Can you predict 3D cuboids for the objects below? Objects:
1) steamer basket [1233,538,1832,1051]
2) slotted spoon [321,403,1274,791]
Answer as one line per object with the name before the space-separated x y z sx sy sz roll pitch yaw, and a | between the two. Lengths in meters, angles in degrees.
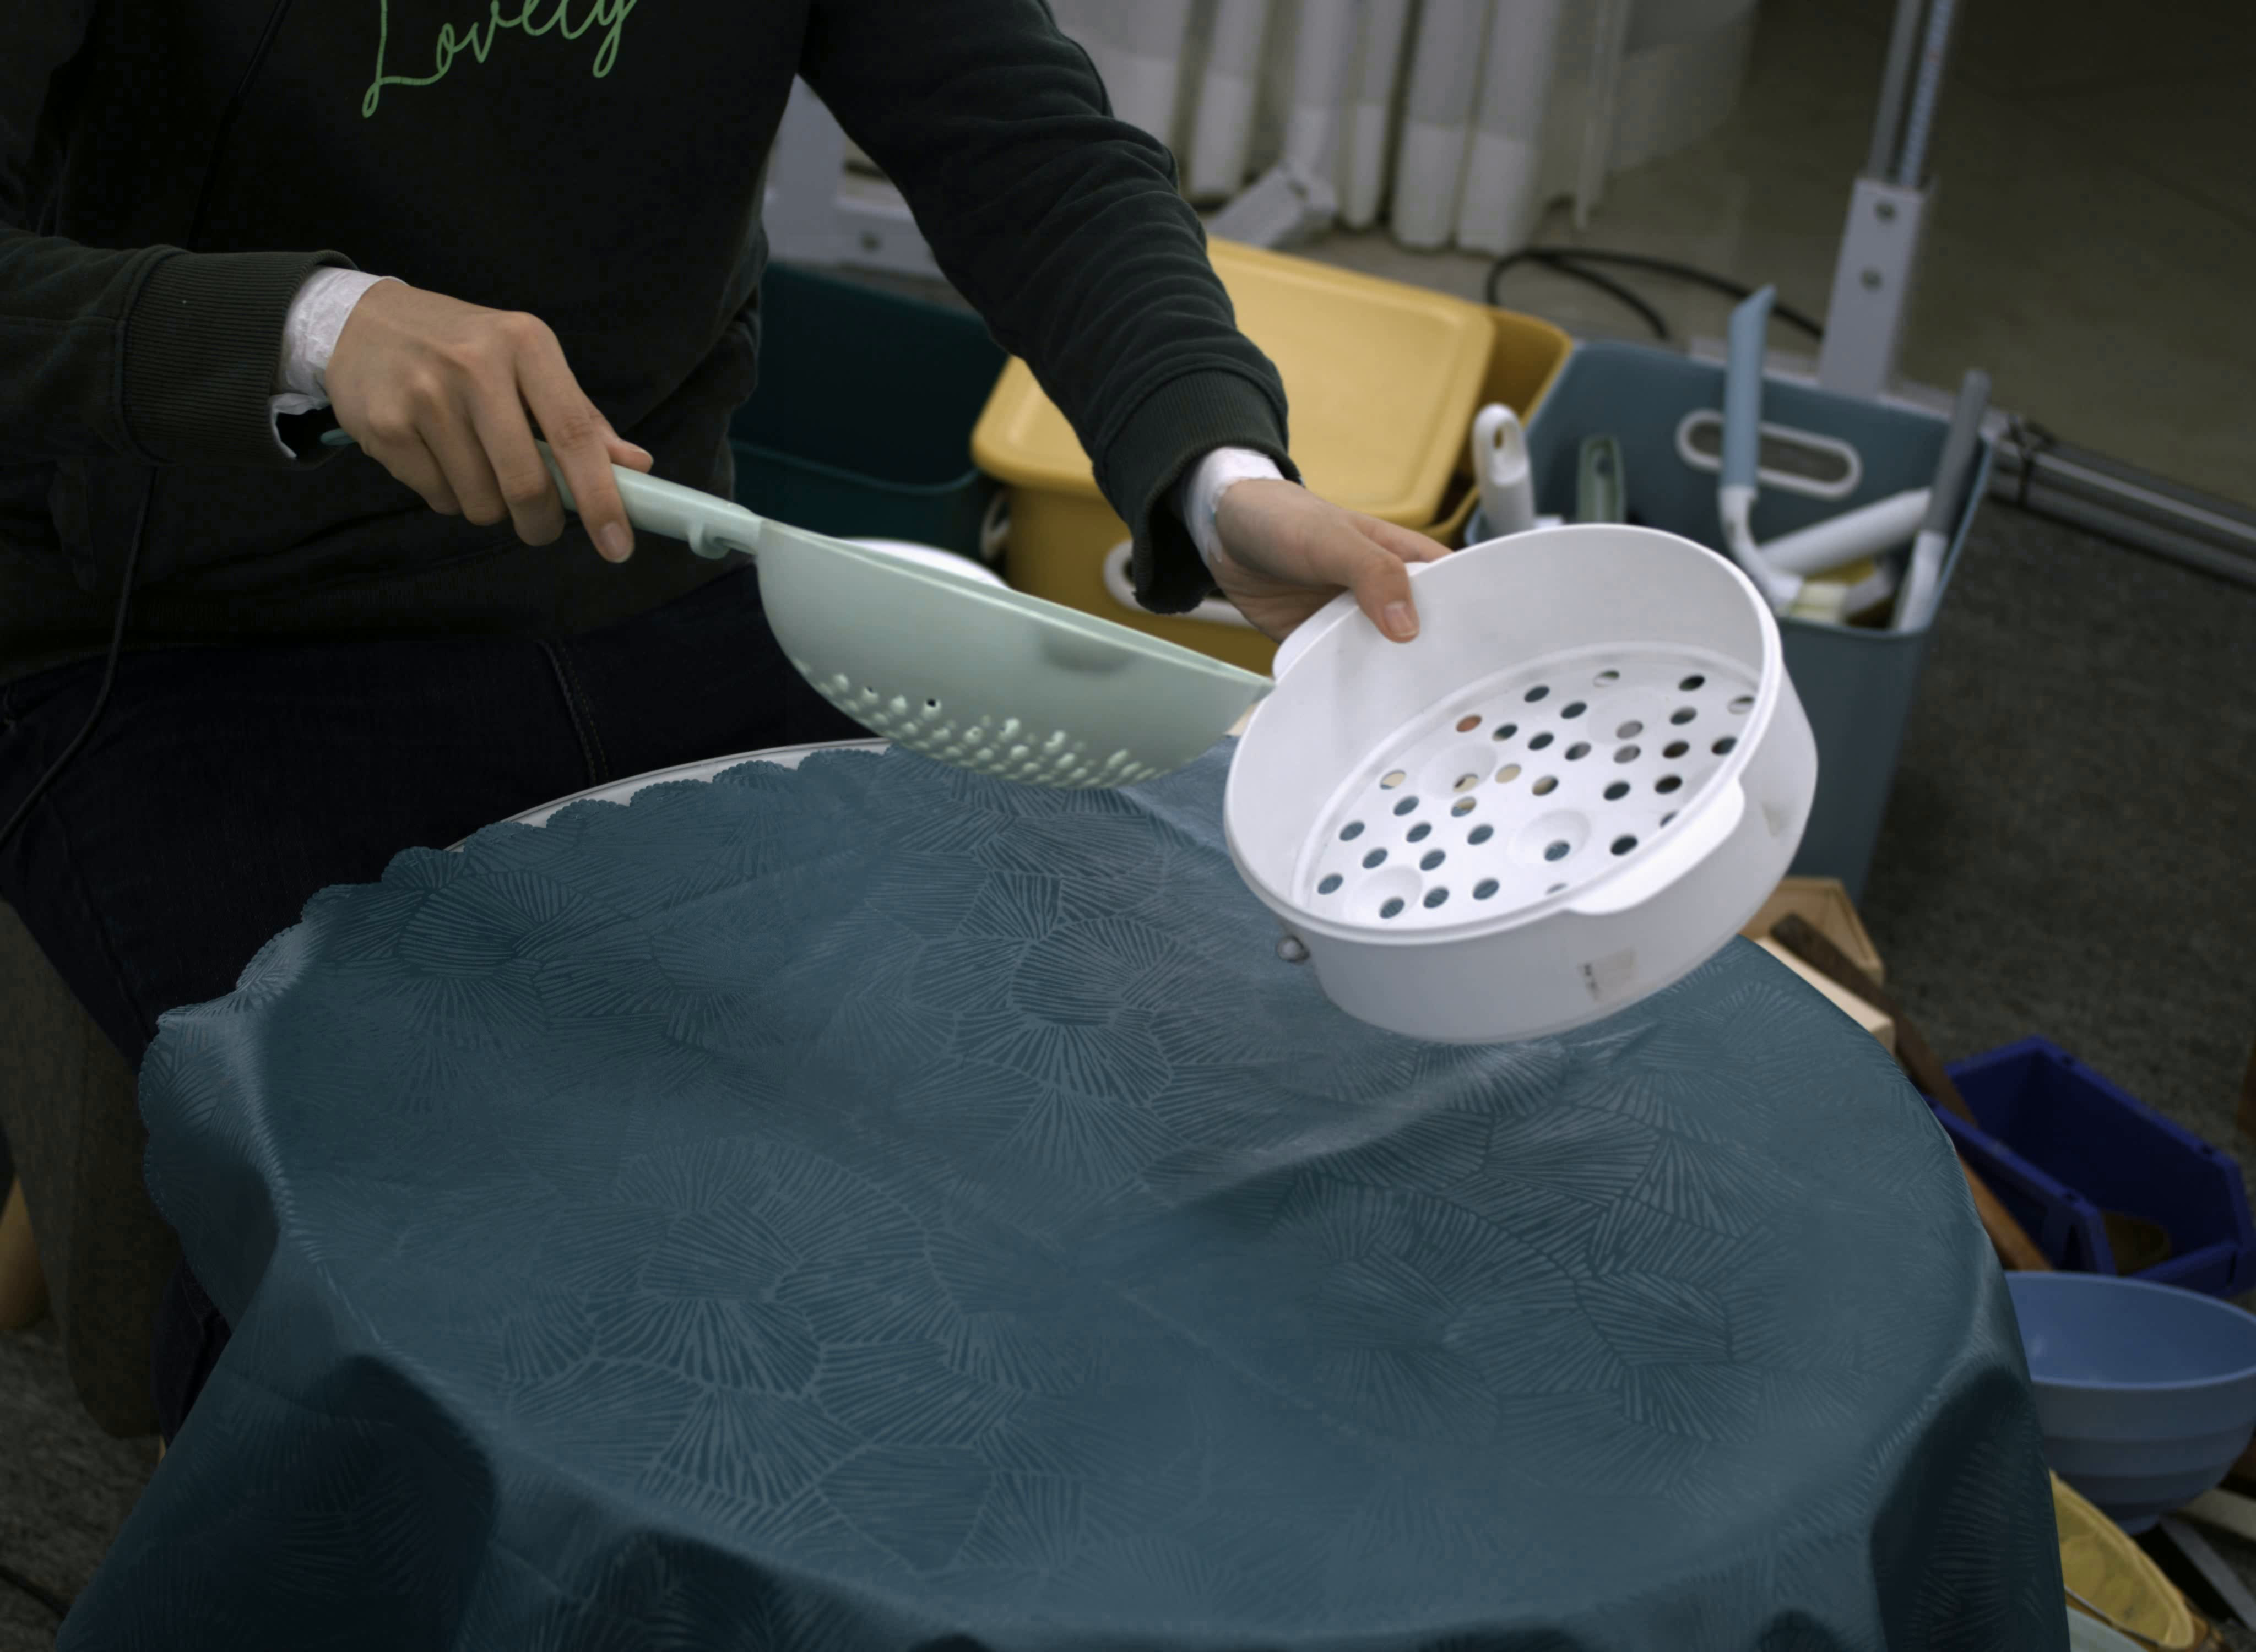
steamer basket | 0.139 -0.009 1.806 0.201 0.069 0.232 -35 36 -12
slotted spoon | -0.123 -0.089 1.765 0.361 0.075 0.168 28 6 27
